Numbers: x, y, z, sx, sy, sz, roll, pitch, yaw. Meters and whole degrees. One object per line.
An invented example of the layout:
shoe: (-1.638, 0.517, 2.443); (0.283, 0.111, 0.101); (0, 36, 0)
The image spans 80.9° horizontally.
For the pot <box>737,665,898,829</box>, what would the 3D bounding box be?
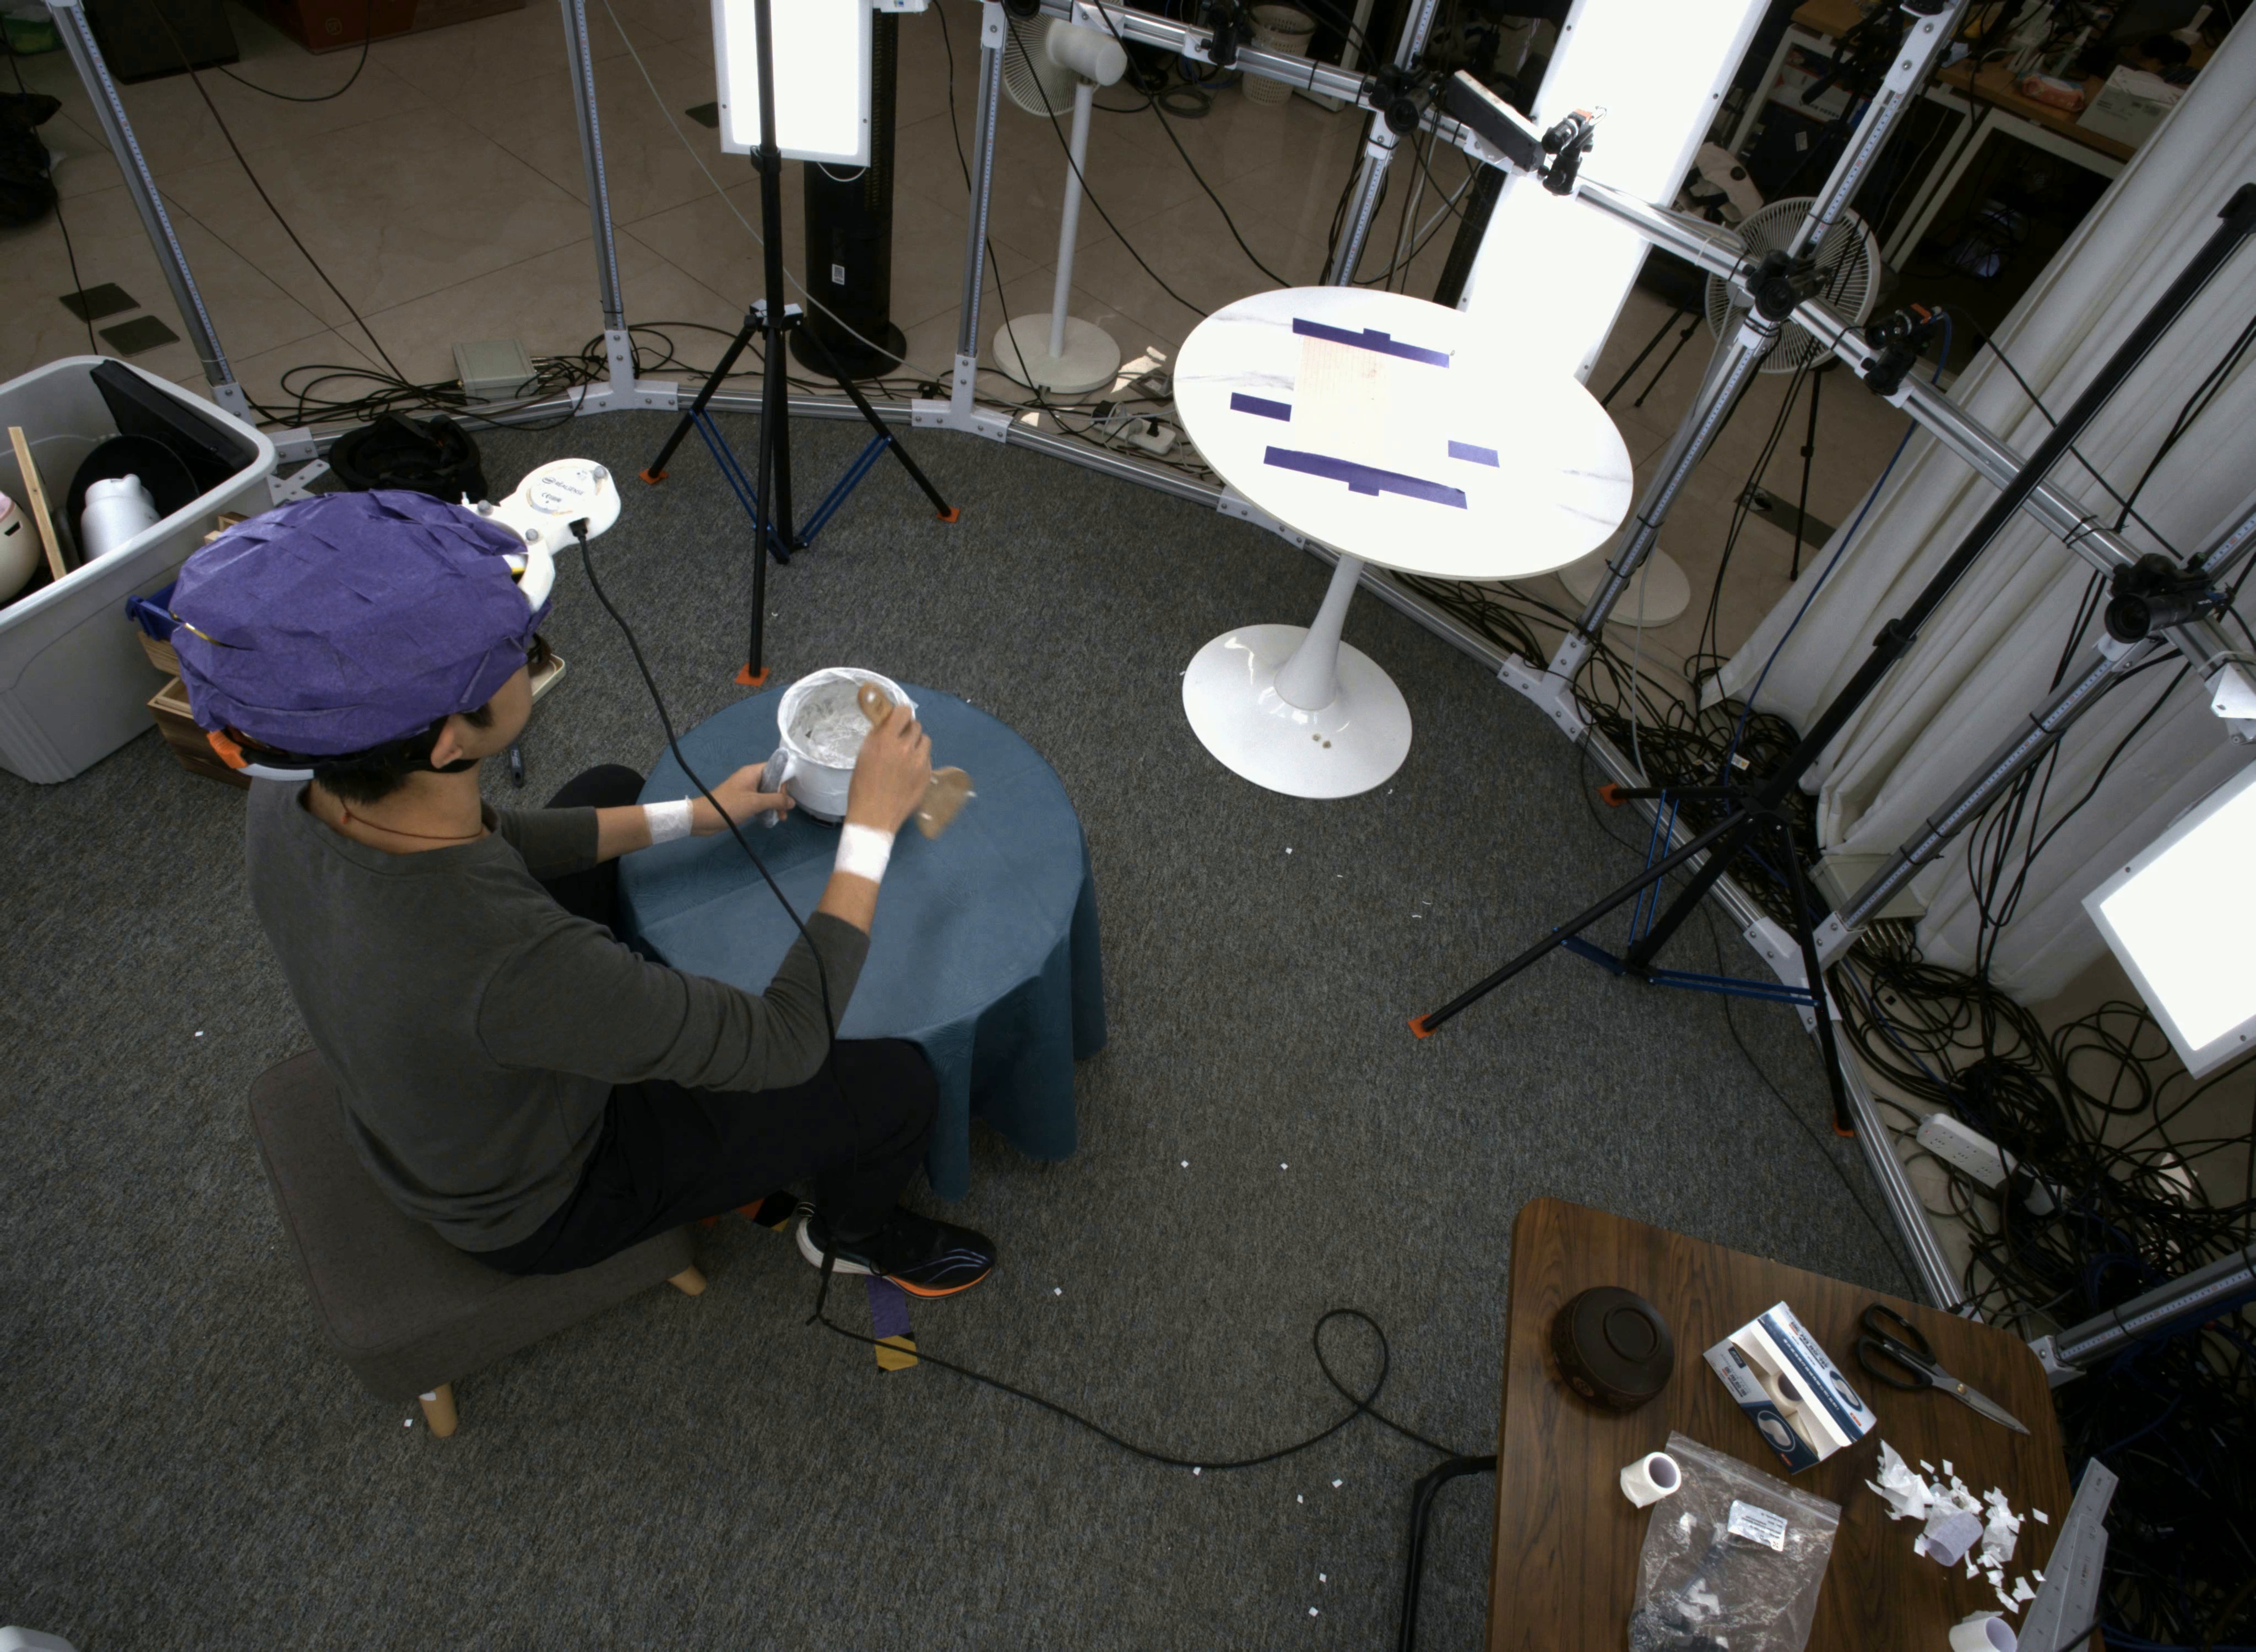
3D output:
pot: (-0.416, -0.090, 1.717); (0.175, 0.139, 0.234); (40, 55, 17)

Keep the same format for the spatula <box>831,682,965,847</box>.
spatula: (-0.266, -0.072, 1.499); (0.018, 0.399, 0.096); (30, 79, 16)
